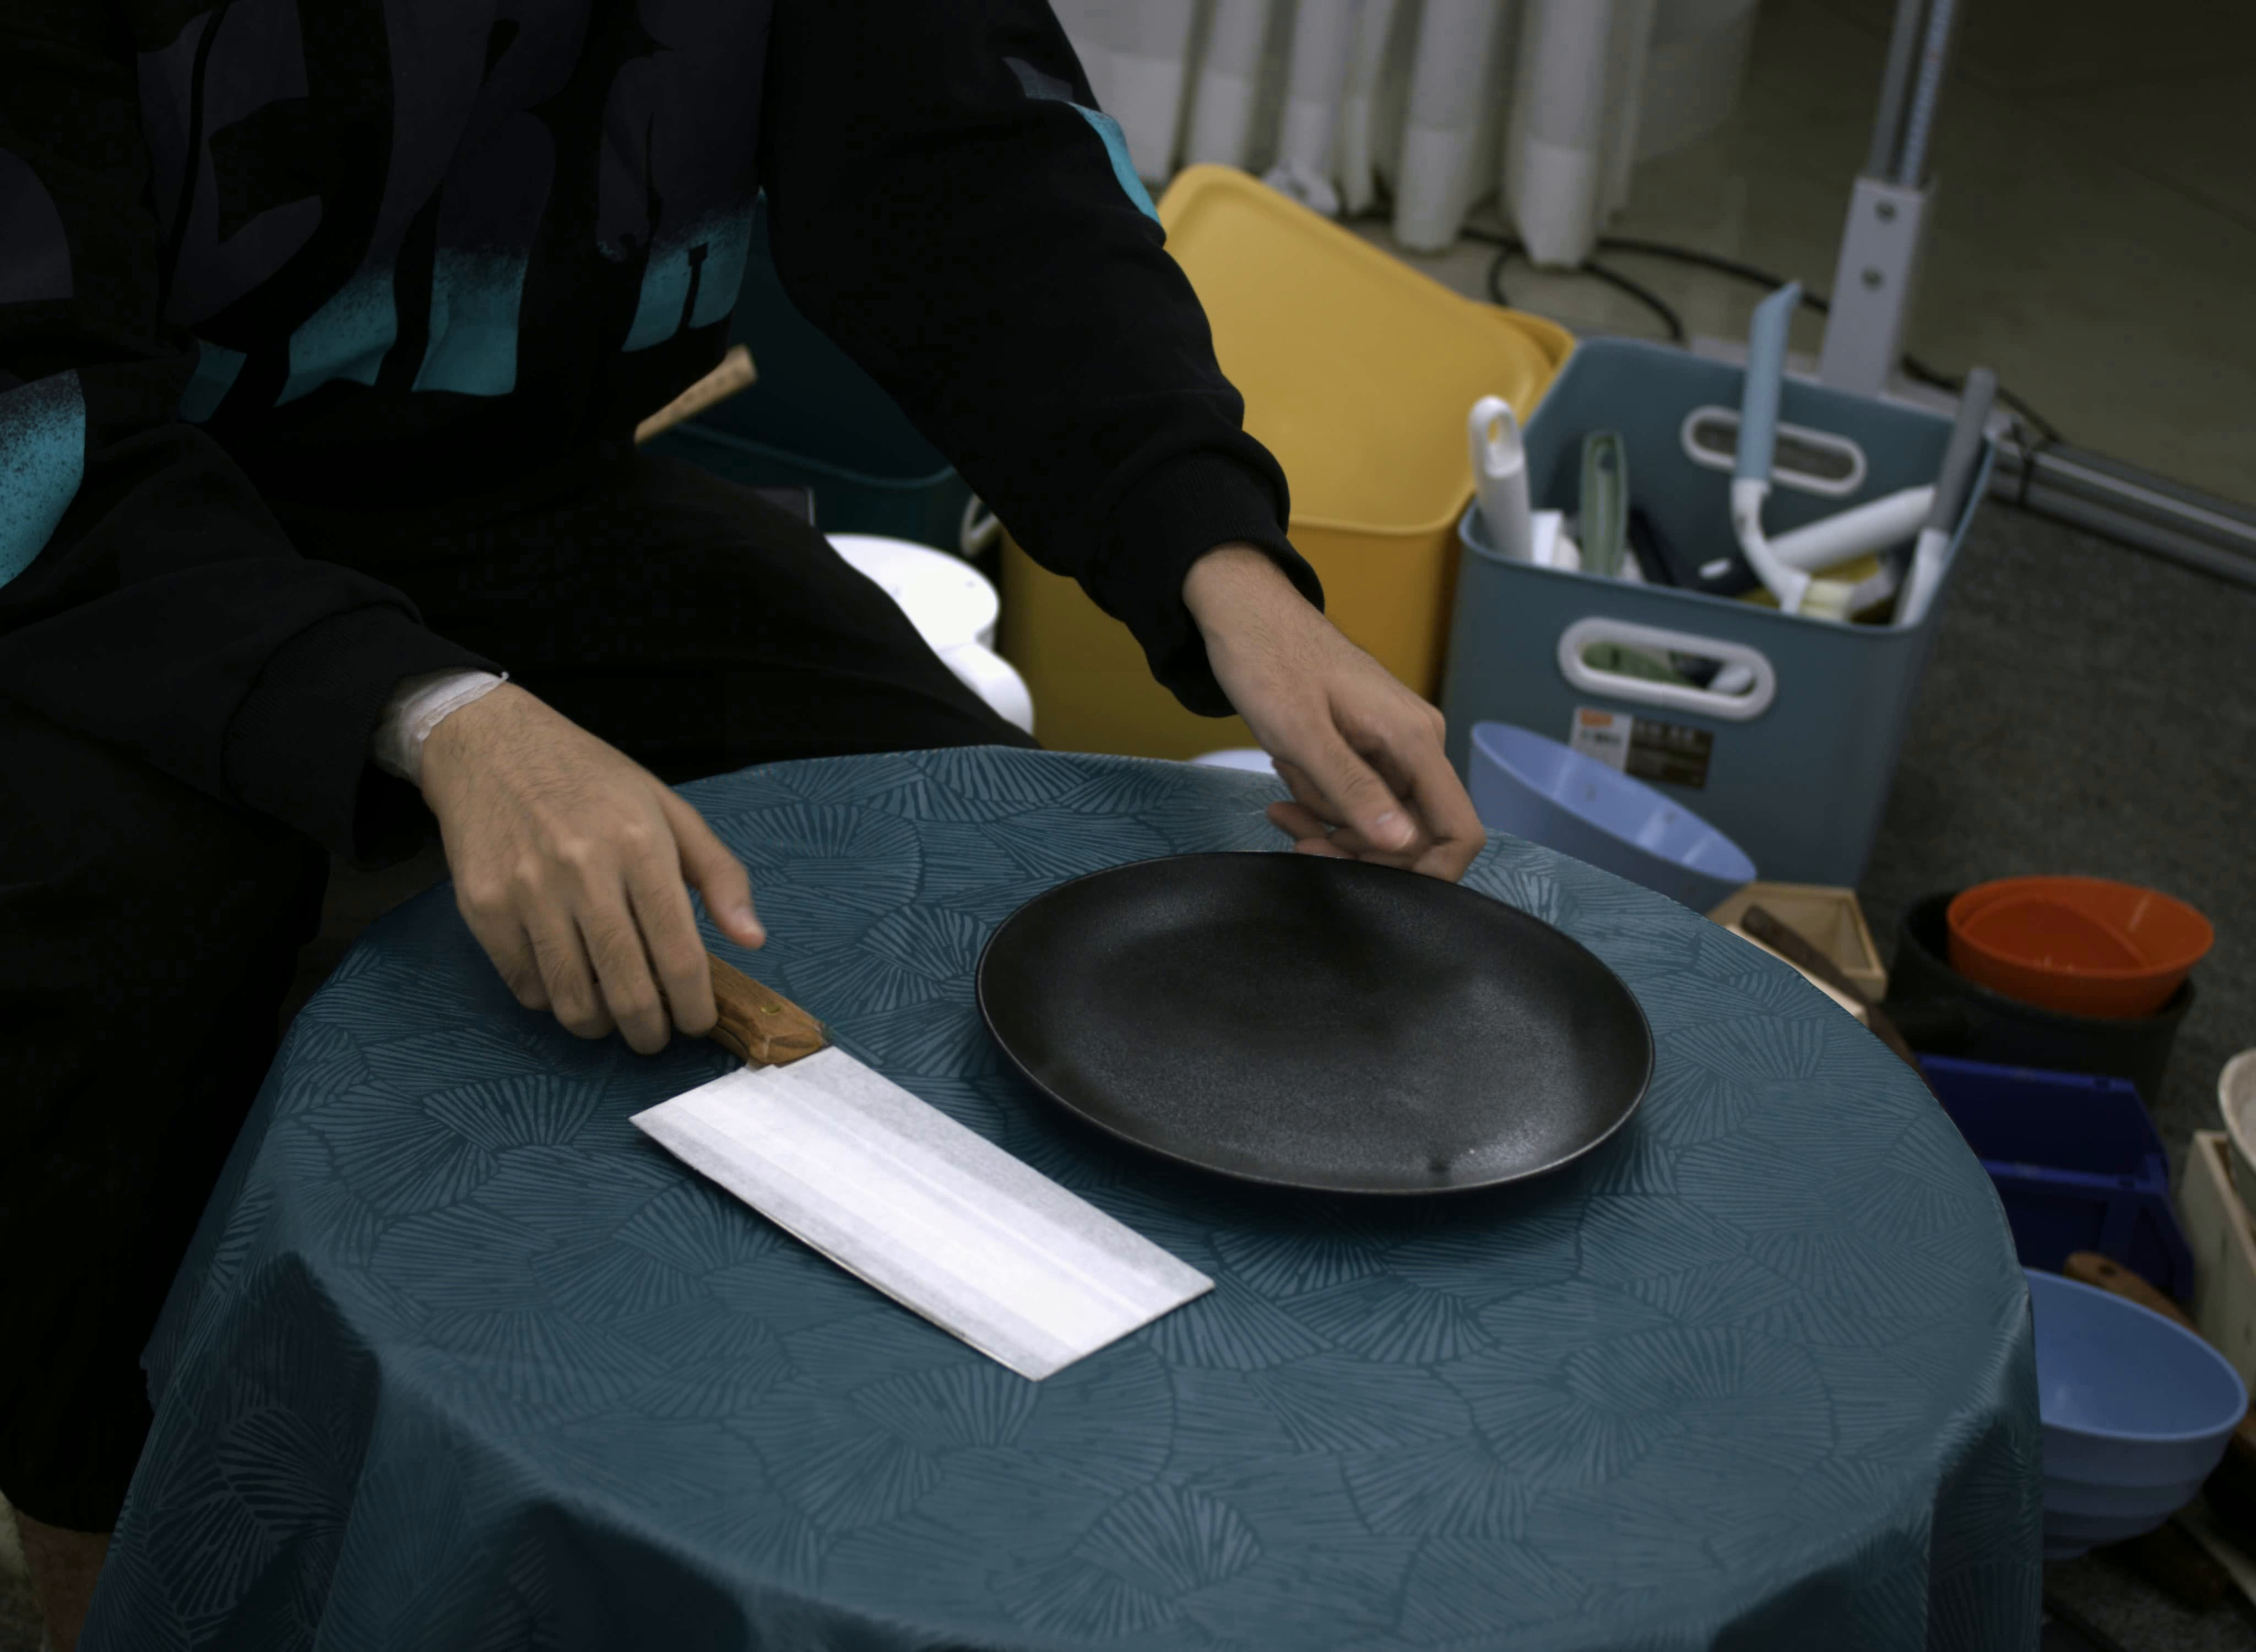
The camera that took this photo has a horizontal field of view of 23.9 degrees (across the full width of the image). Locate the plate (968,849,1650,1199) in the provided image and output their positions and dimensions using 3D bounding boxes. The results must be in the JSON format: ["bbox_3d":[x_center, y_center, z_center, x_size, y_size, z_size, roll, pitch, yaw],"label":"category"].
[{"bbox_3d":[0.063,0.075,1.886,0.243,0.023,0.246,5,27,-3],"label":"plate"}]

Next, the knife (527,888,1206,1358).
[{"bbox_3d":[-0.111,0.101,1.806,0.308,0.021,0.092,29,36,33],"label":"knife"}]
